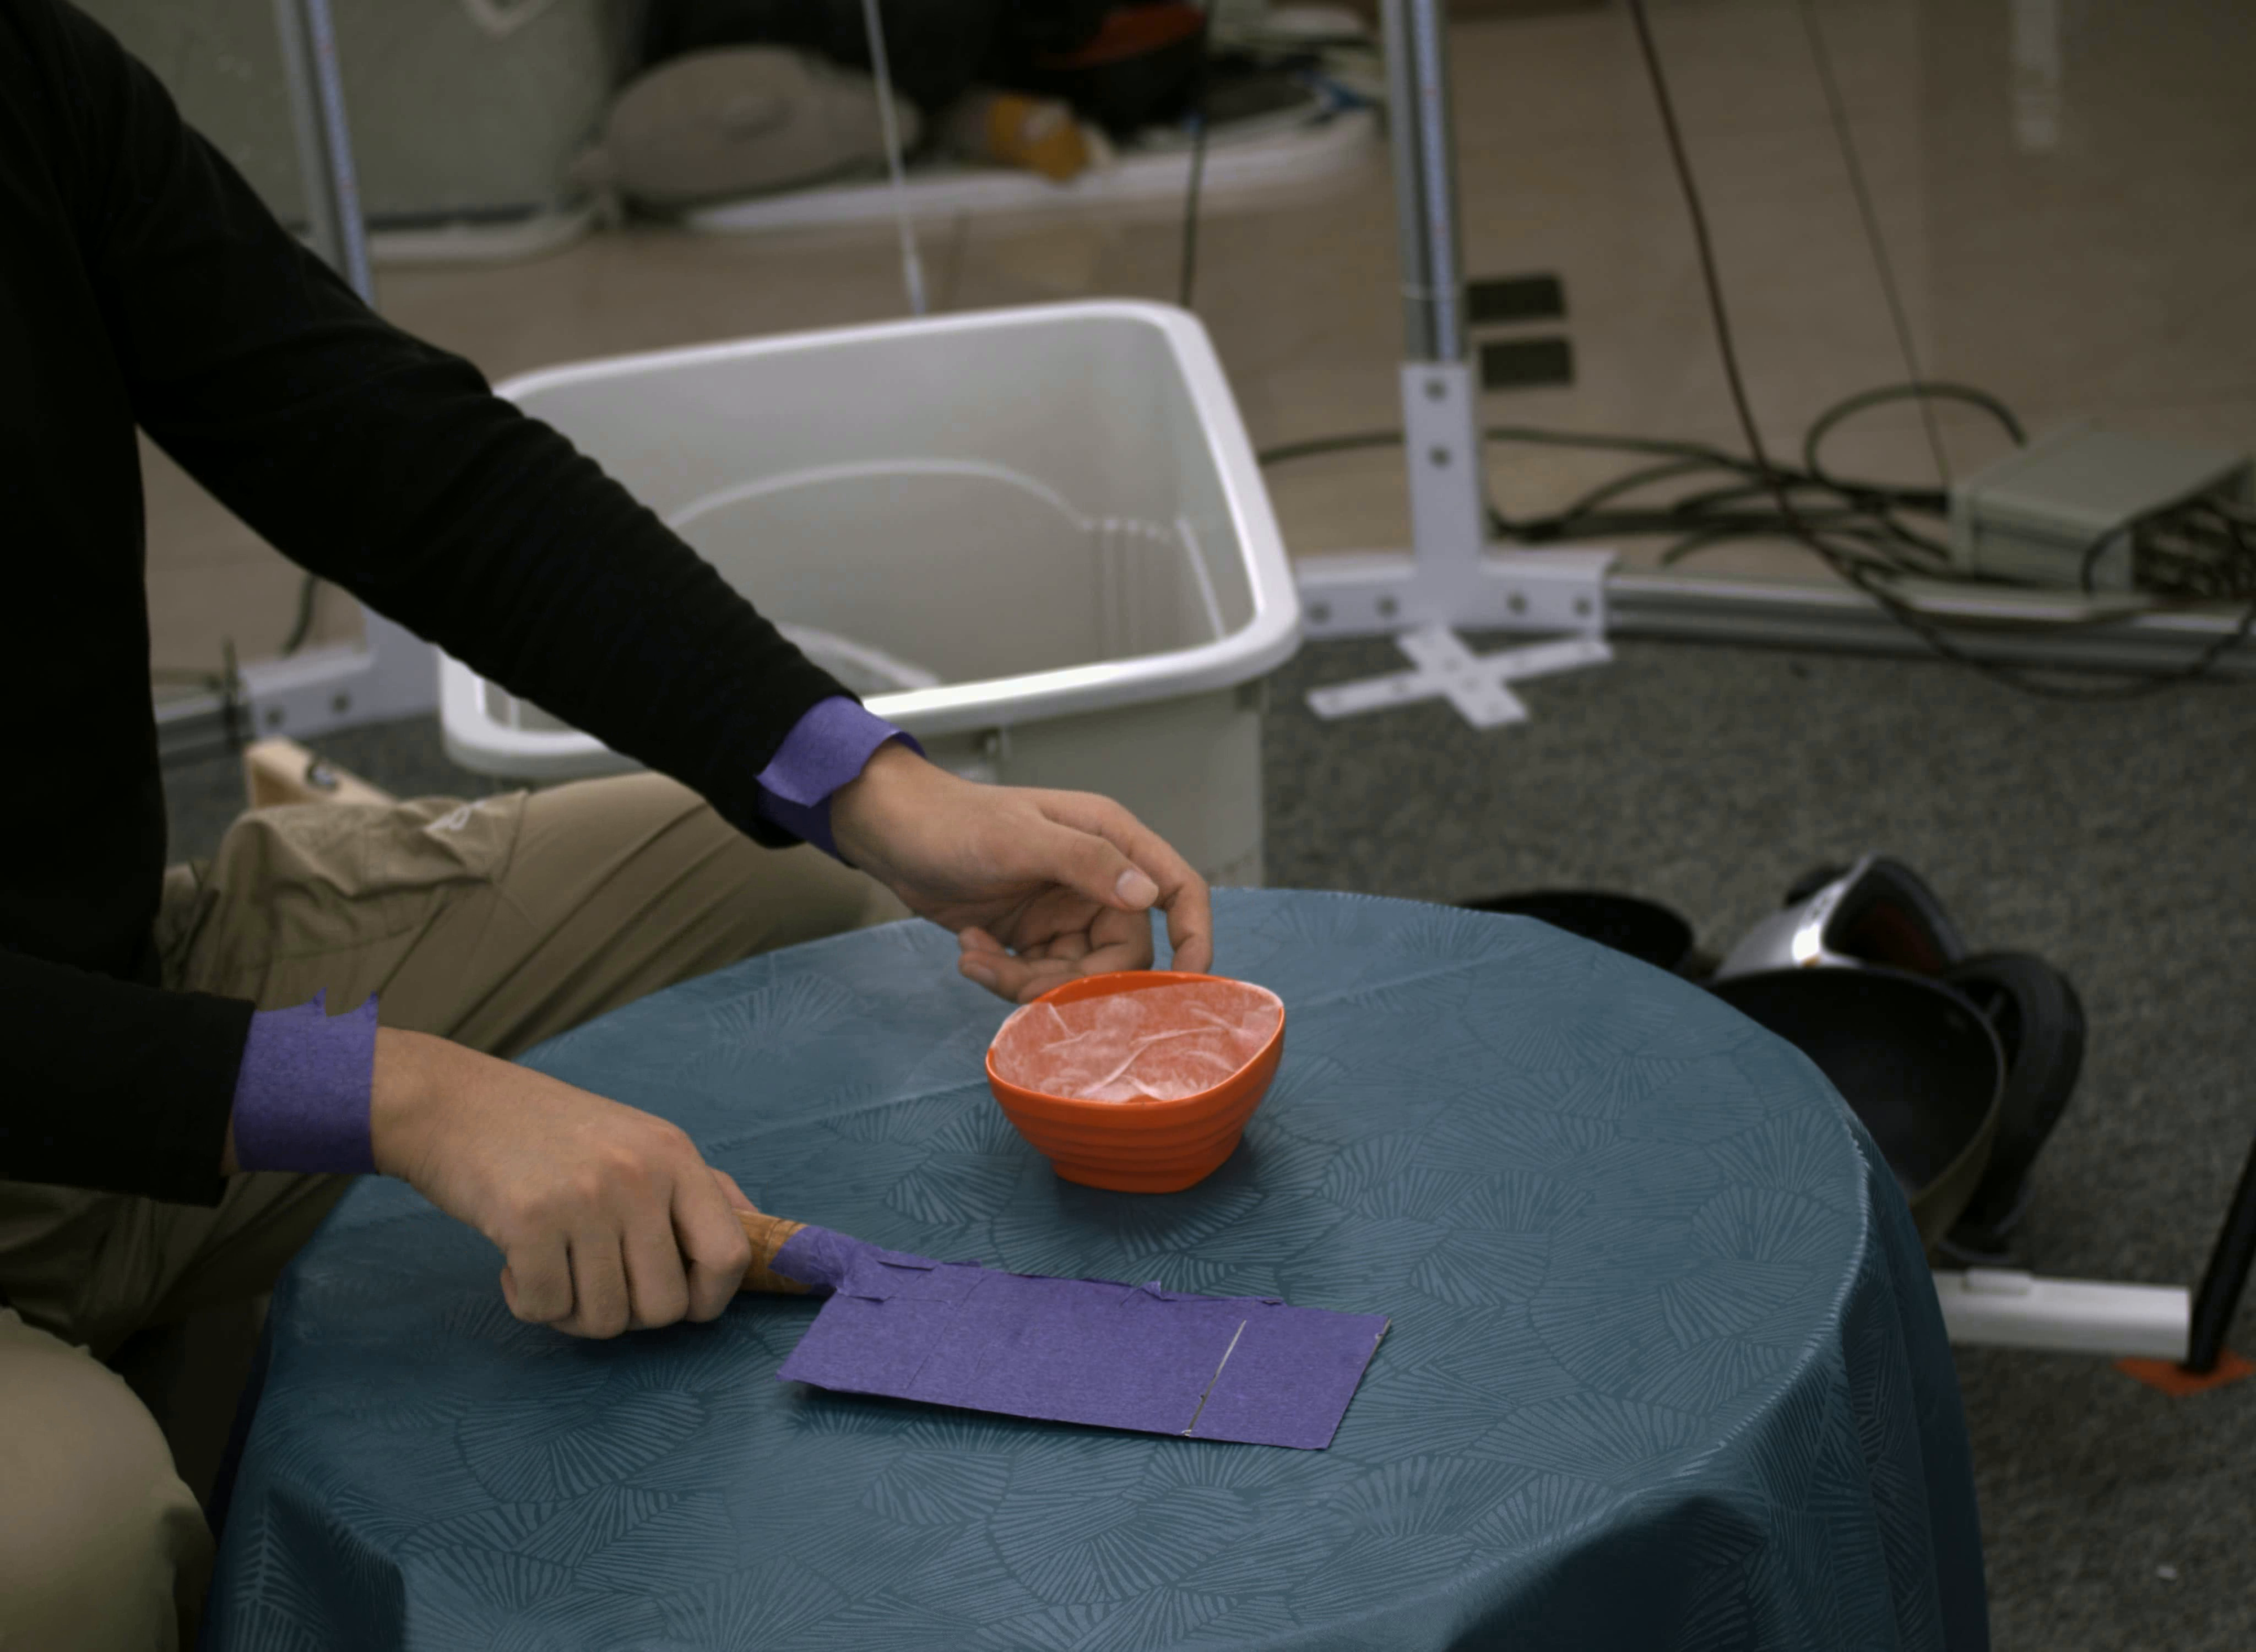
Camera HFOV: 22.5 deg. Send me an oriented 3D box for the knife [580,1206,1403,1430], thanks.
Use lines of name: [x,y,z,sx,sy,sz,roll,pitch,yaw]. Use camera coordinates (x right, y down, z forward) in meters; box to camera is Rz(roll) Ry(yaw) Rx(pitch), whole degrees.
knife: [-0.063,0.177,2.051,0.314,0.033,0.102,3,26,19]

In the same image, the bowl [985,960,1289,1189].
bowl: [0.005,0.099,2.167,0.119,0.052,0.117,-3,27,2]
